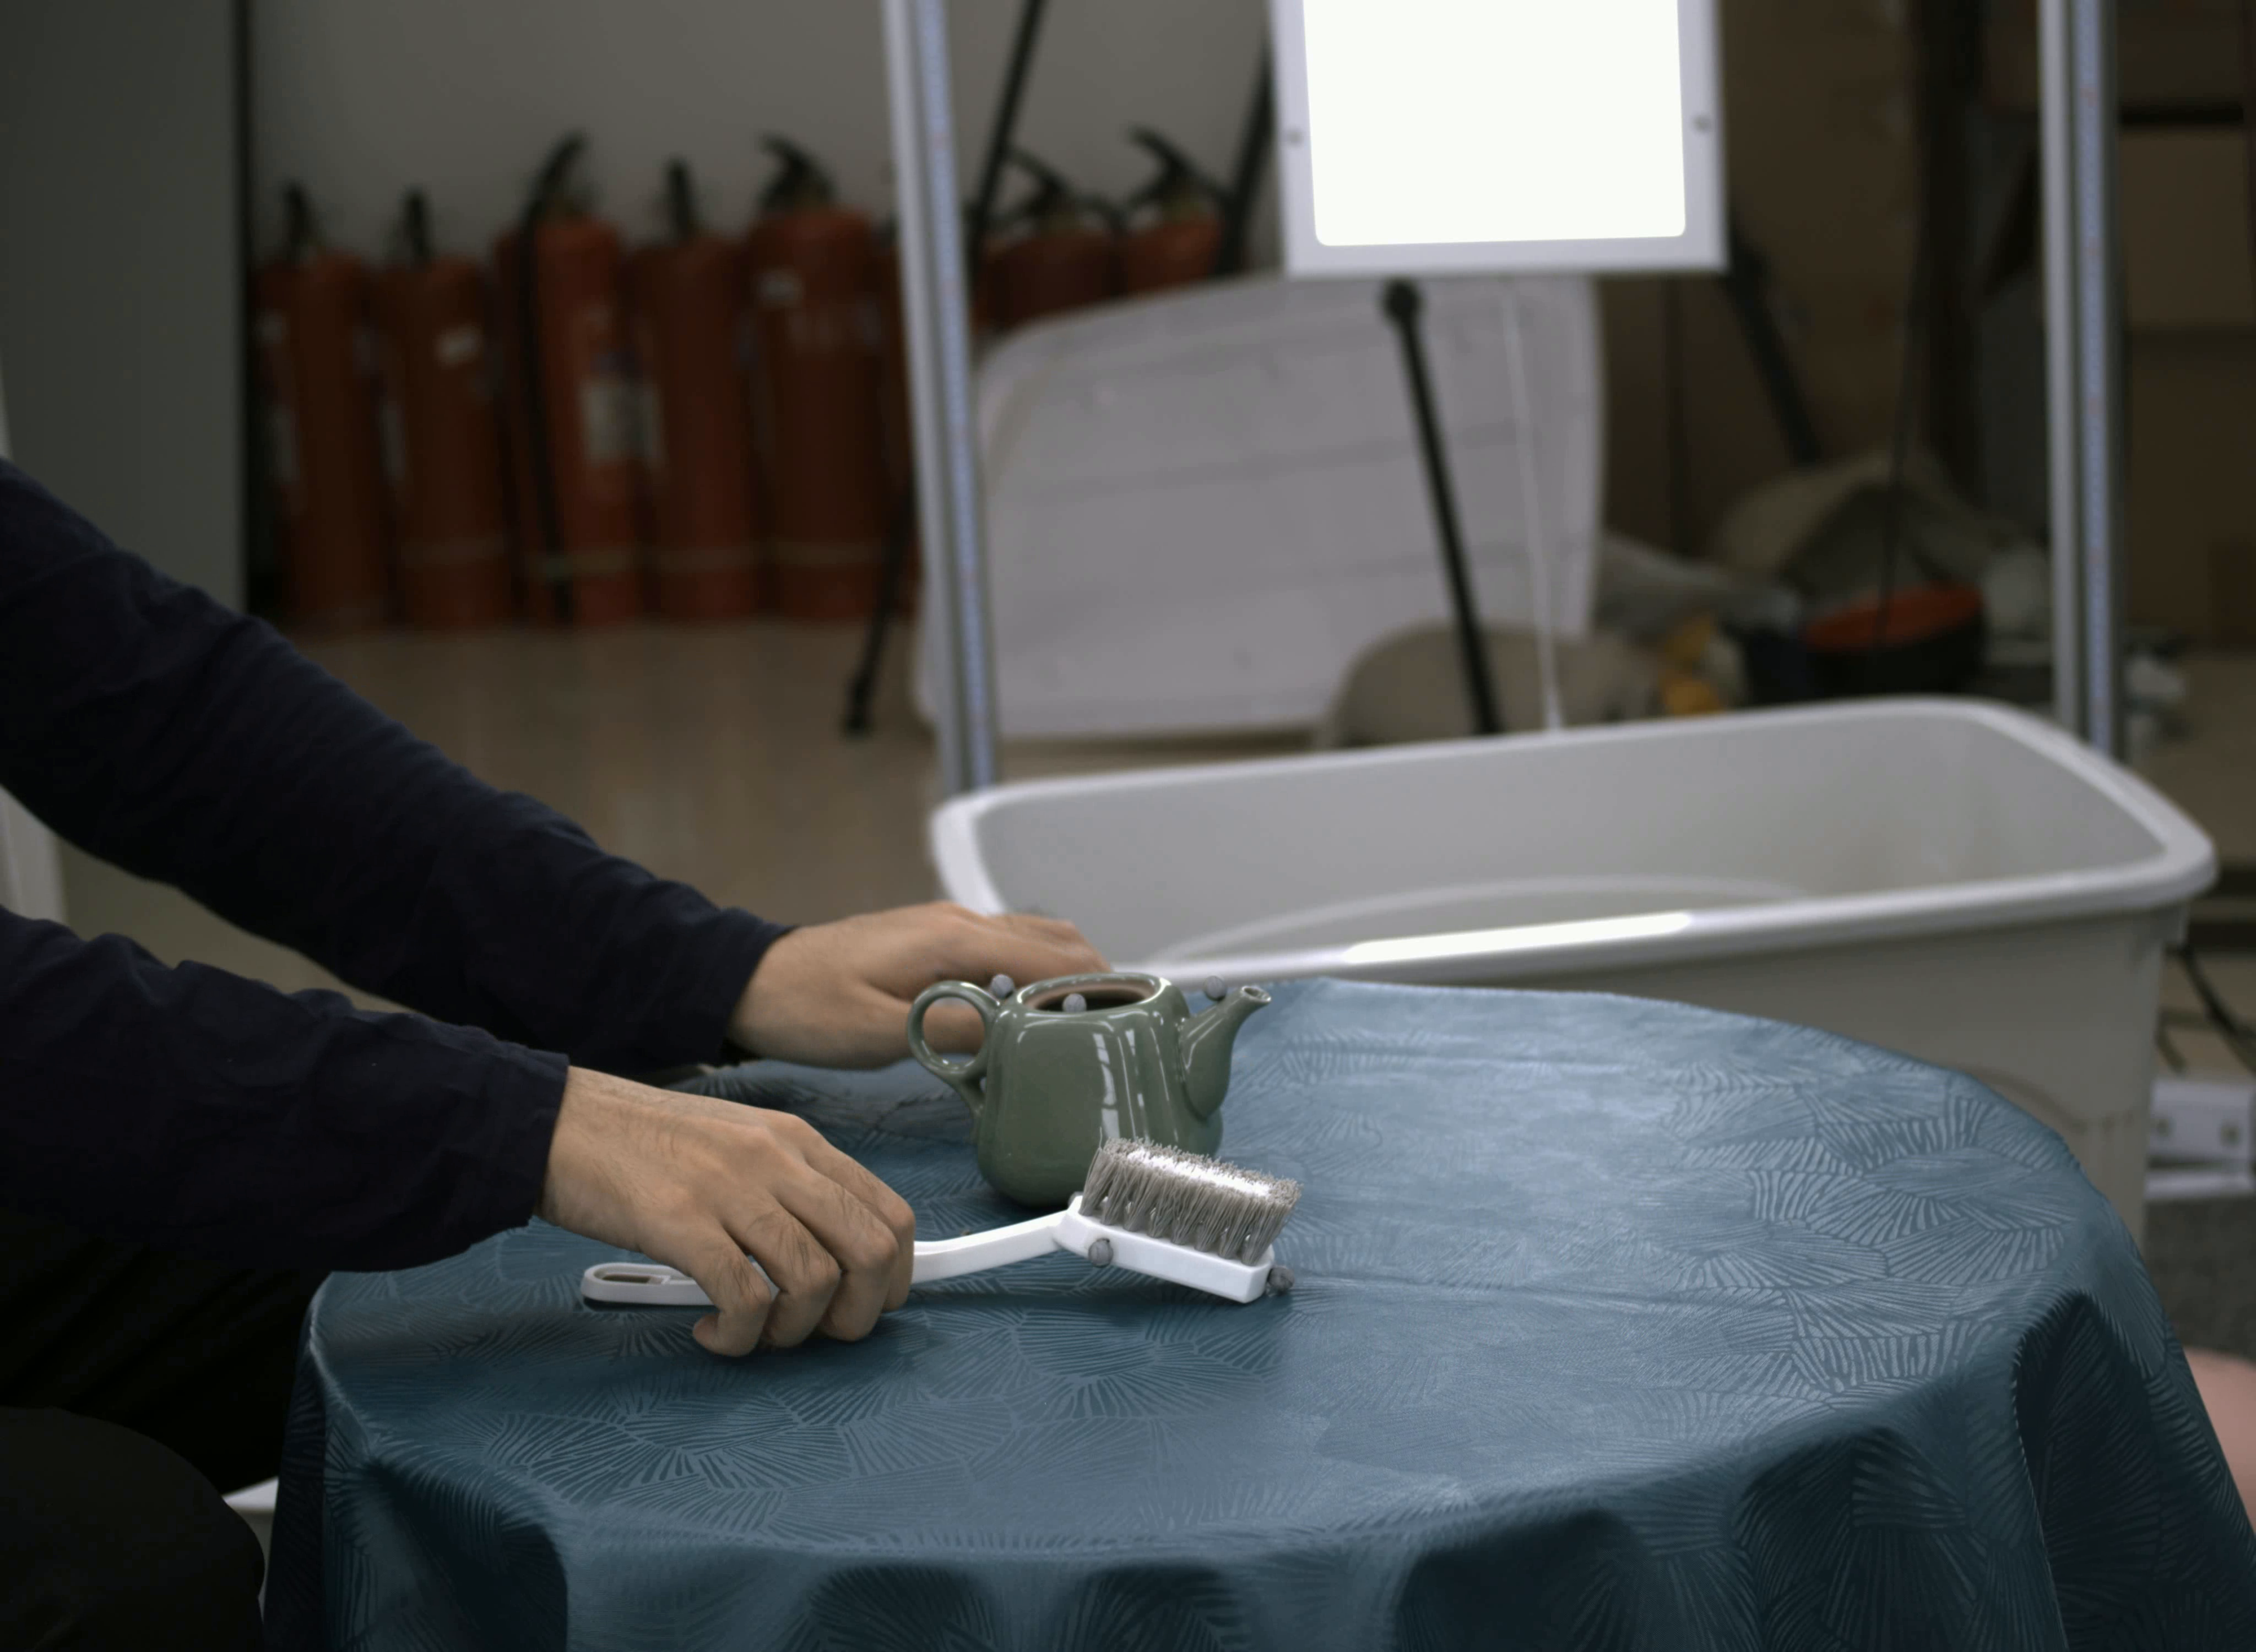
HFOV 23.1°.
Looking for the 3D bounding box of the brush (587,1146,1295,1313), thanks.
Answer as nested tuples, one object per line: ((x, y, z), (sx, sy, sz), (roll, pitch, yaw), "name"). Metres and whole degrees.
((-0.064, 0.130, 1.807), (0.246, 0.050, 0.034), (0, 19, 18), "brush")

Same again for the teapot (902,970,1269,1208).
((-0.013, 0.089, 1.901), (0.134, 0.075, 0.078), (-1, 14, 18), "teapot")
